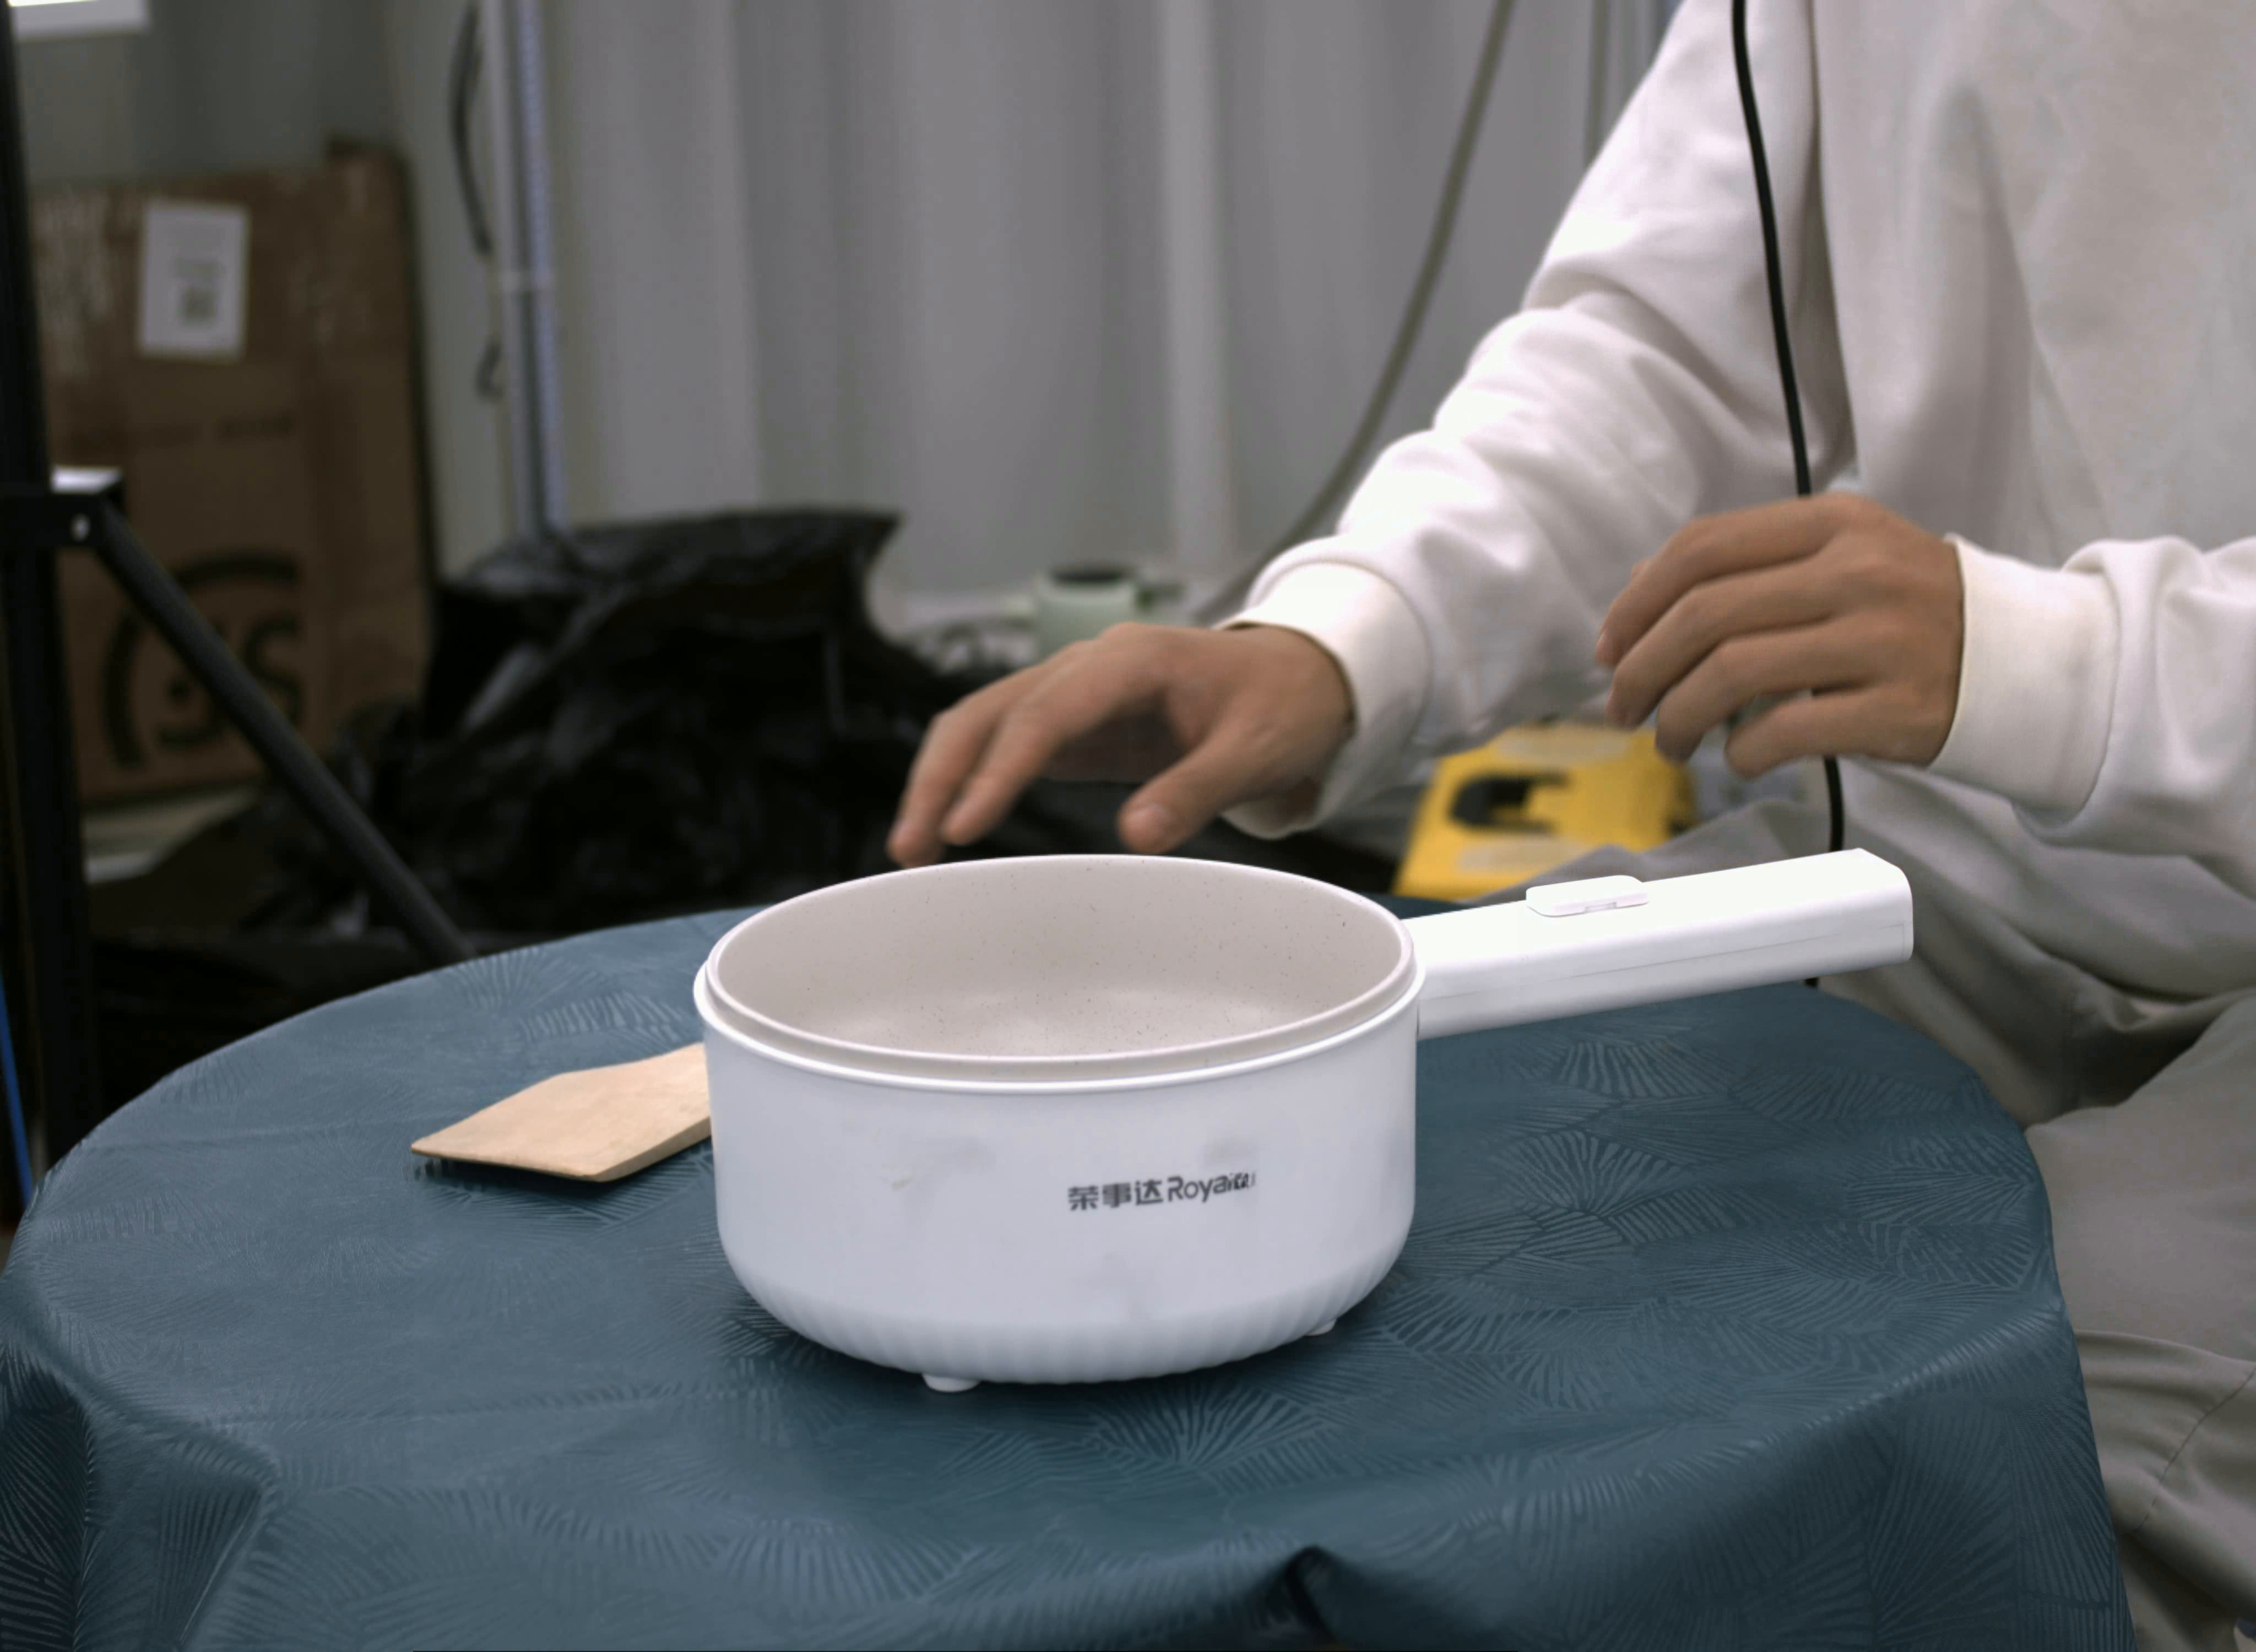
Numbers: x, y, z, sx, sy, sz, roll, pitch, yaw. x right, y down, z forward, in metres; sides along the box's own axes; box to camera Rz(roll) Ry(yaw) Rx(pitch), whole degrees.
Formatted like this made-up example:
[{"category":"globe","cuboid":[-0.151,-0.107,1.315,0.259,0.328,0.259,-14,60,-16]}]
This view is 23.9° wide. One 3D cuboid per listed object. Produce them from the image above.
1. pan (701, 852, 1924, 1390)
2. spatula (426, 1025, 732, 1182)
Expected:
[{"category":"pan","cuboid":[0.056,0.074,1.489,0.348,0.102,0.204,-6,16,-17]},{"category":"spatula","cuboid":[-0.116,0.066,1.710,0.073,0.010,0.288,5,17,29]}]
